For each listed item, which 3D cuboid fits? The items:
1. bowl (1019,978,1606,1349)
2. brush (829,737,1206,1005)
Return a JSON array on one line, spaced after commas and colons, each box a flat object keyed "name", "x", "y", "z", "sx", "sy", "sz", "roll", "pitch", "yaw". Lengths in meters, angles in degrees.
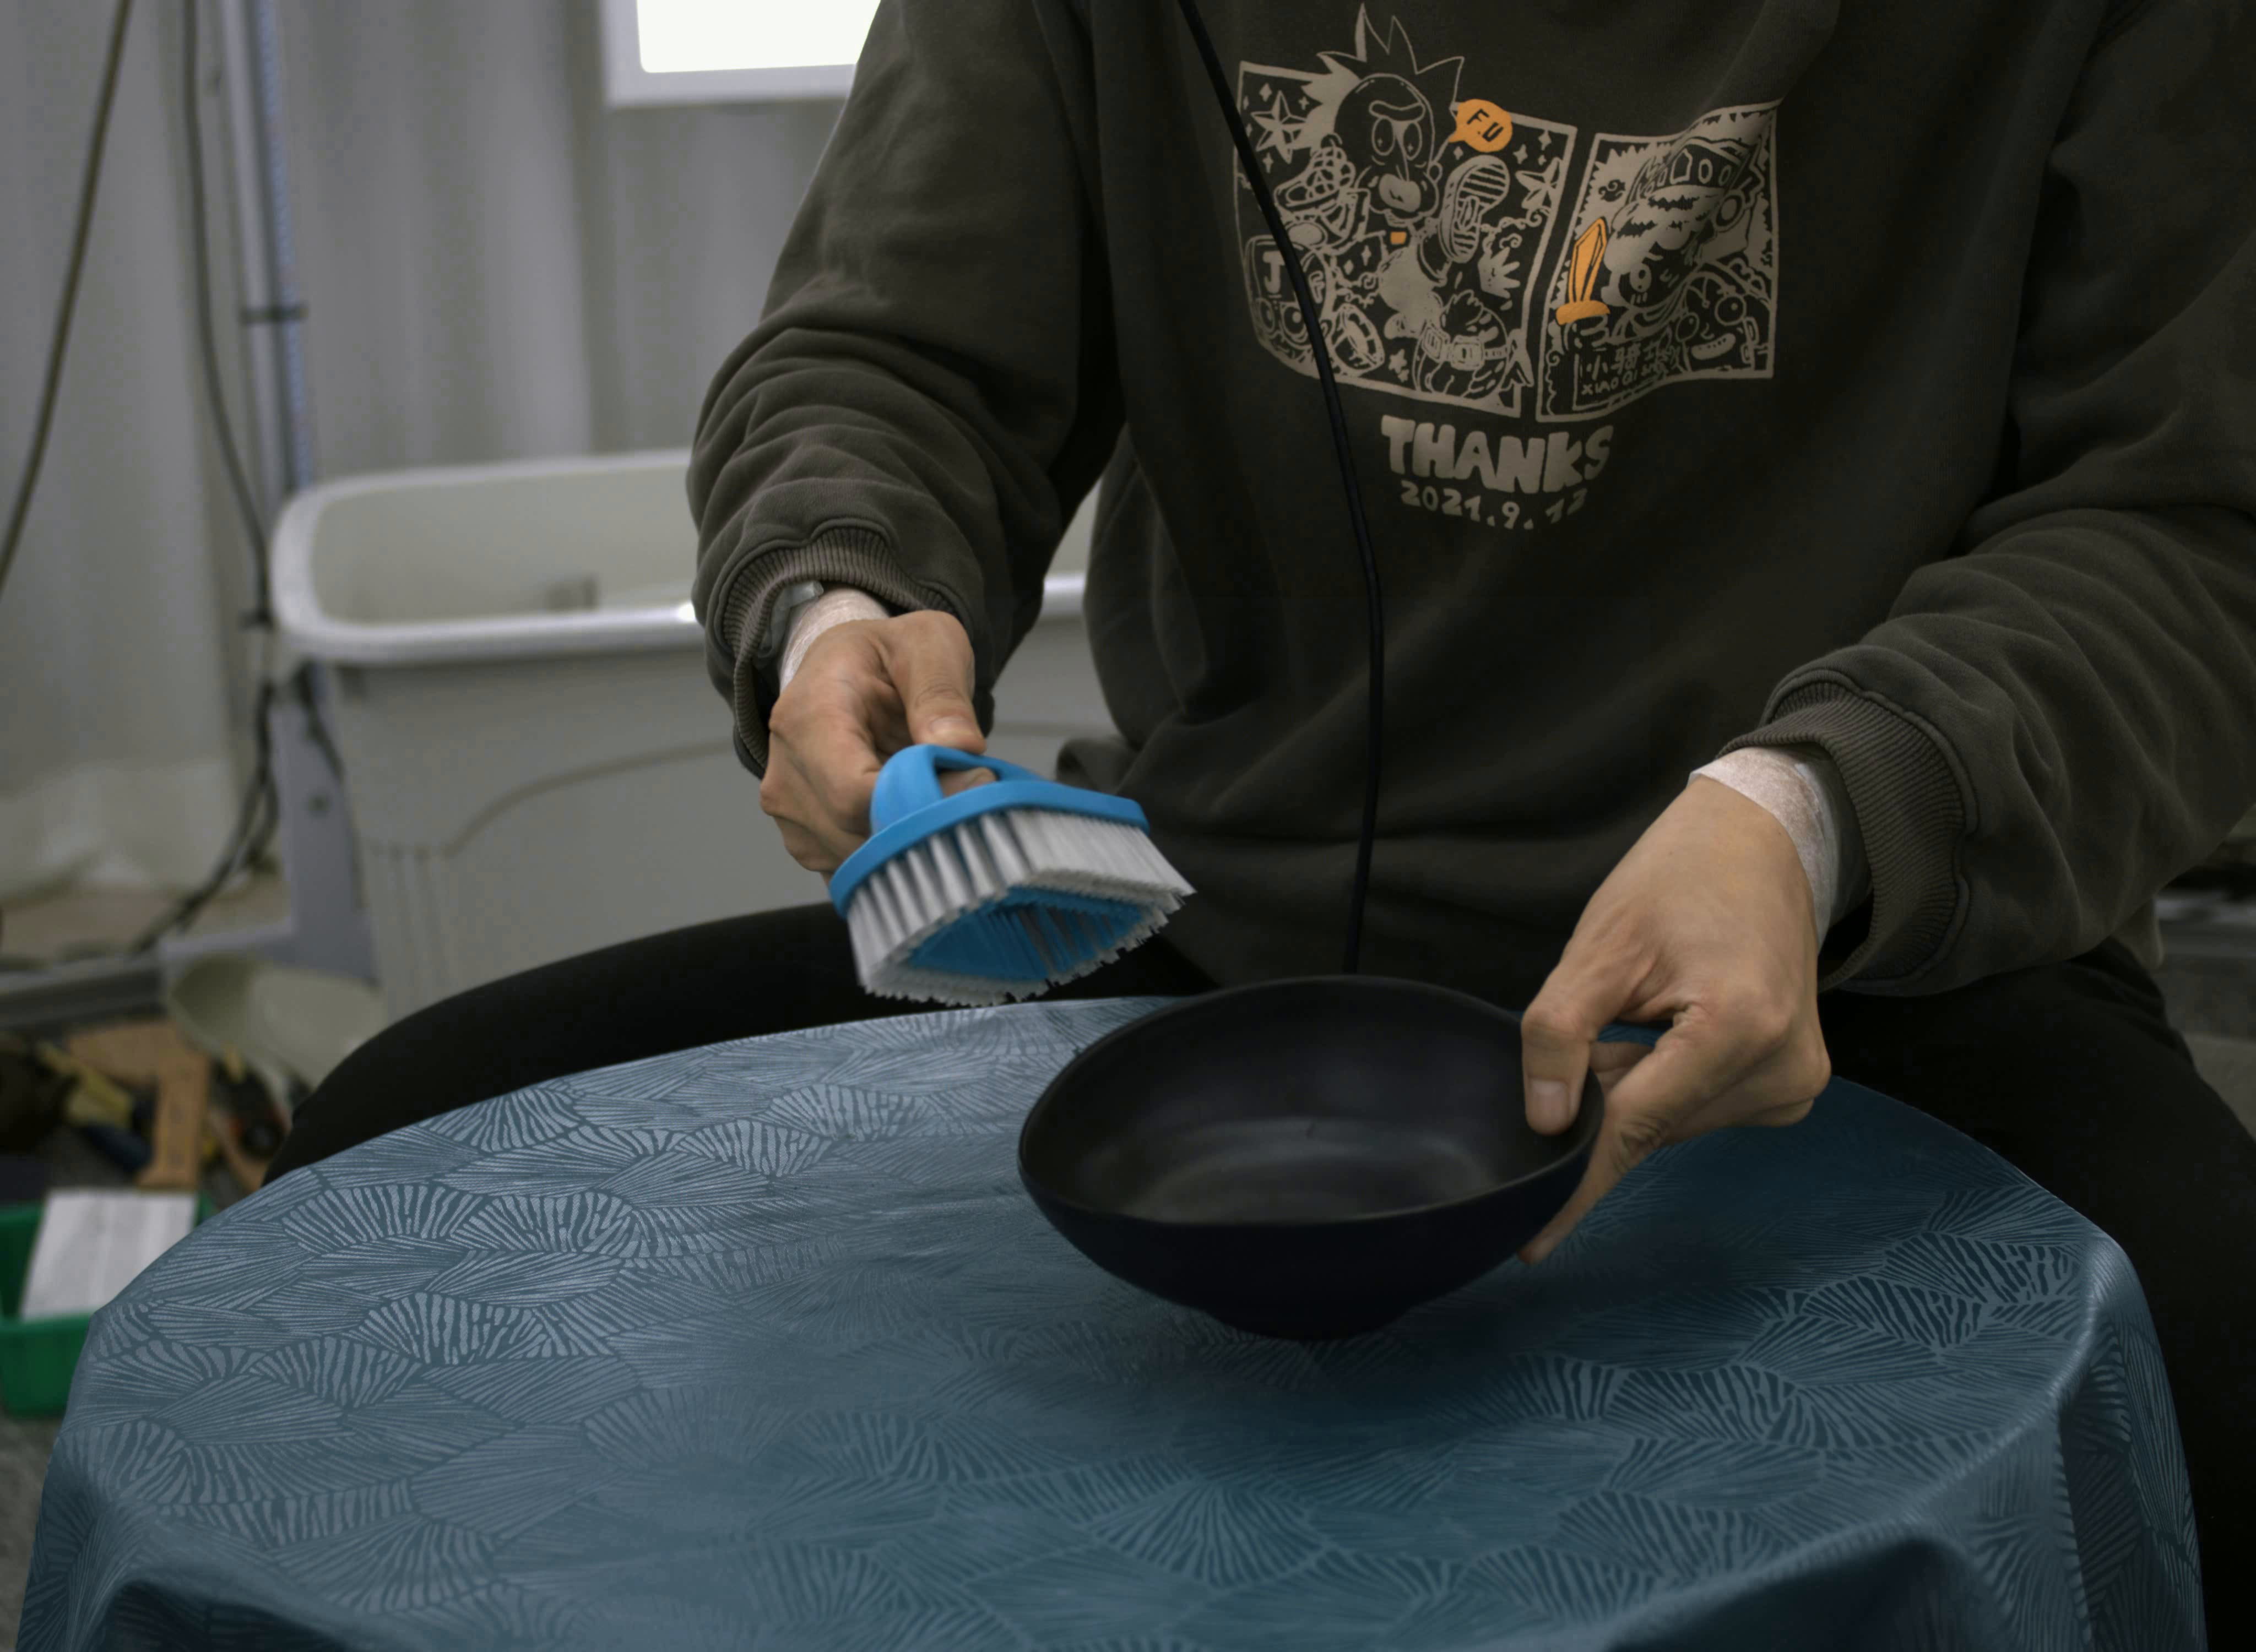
[{"name": "bowl", "x": 0.054, "y": 0.107, "z": 1.573, "sx": 0.169, "sy": 0.066, "sz": 0.139, "roll": -8, "pitch": 27, "yaw": -11}, {"name": "brush", "x": -0.041, "y": 0.006, "z": 1.632, "sx": 0.084, "sy": 0.064, "sz": 0.141, "roll": -37, "pitch": -19, "yaw": 20}]
